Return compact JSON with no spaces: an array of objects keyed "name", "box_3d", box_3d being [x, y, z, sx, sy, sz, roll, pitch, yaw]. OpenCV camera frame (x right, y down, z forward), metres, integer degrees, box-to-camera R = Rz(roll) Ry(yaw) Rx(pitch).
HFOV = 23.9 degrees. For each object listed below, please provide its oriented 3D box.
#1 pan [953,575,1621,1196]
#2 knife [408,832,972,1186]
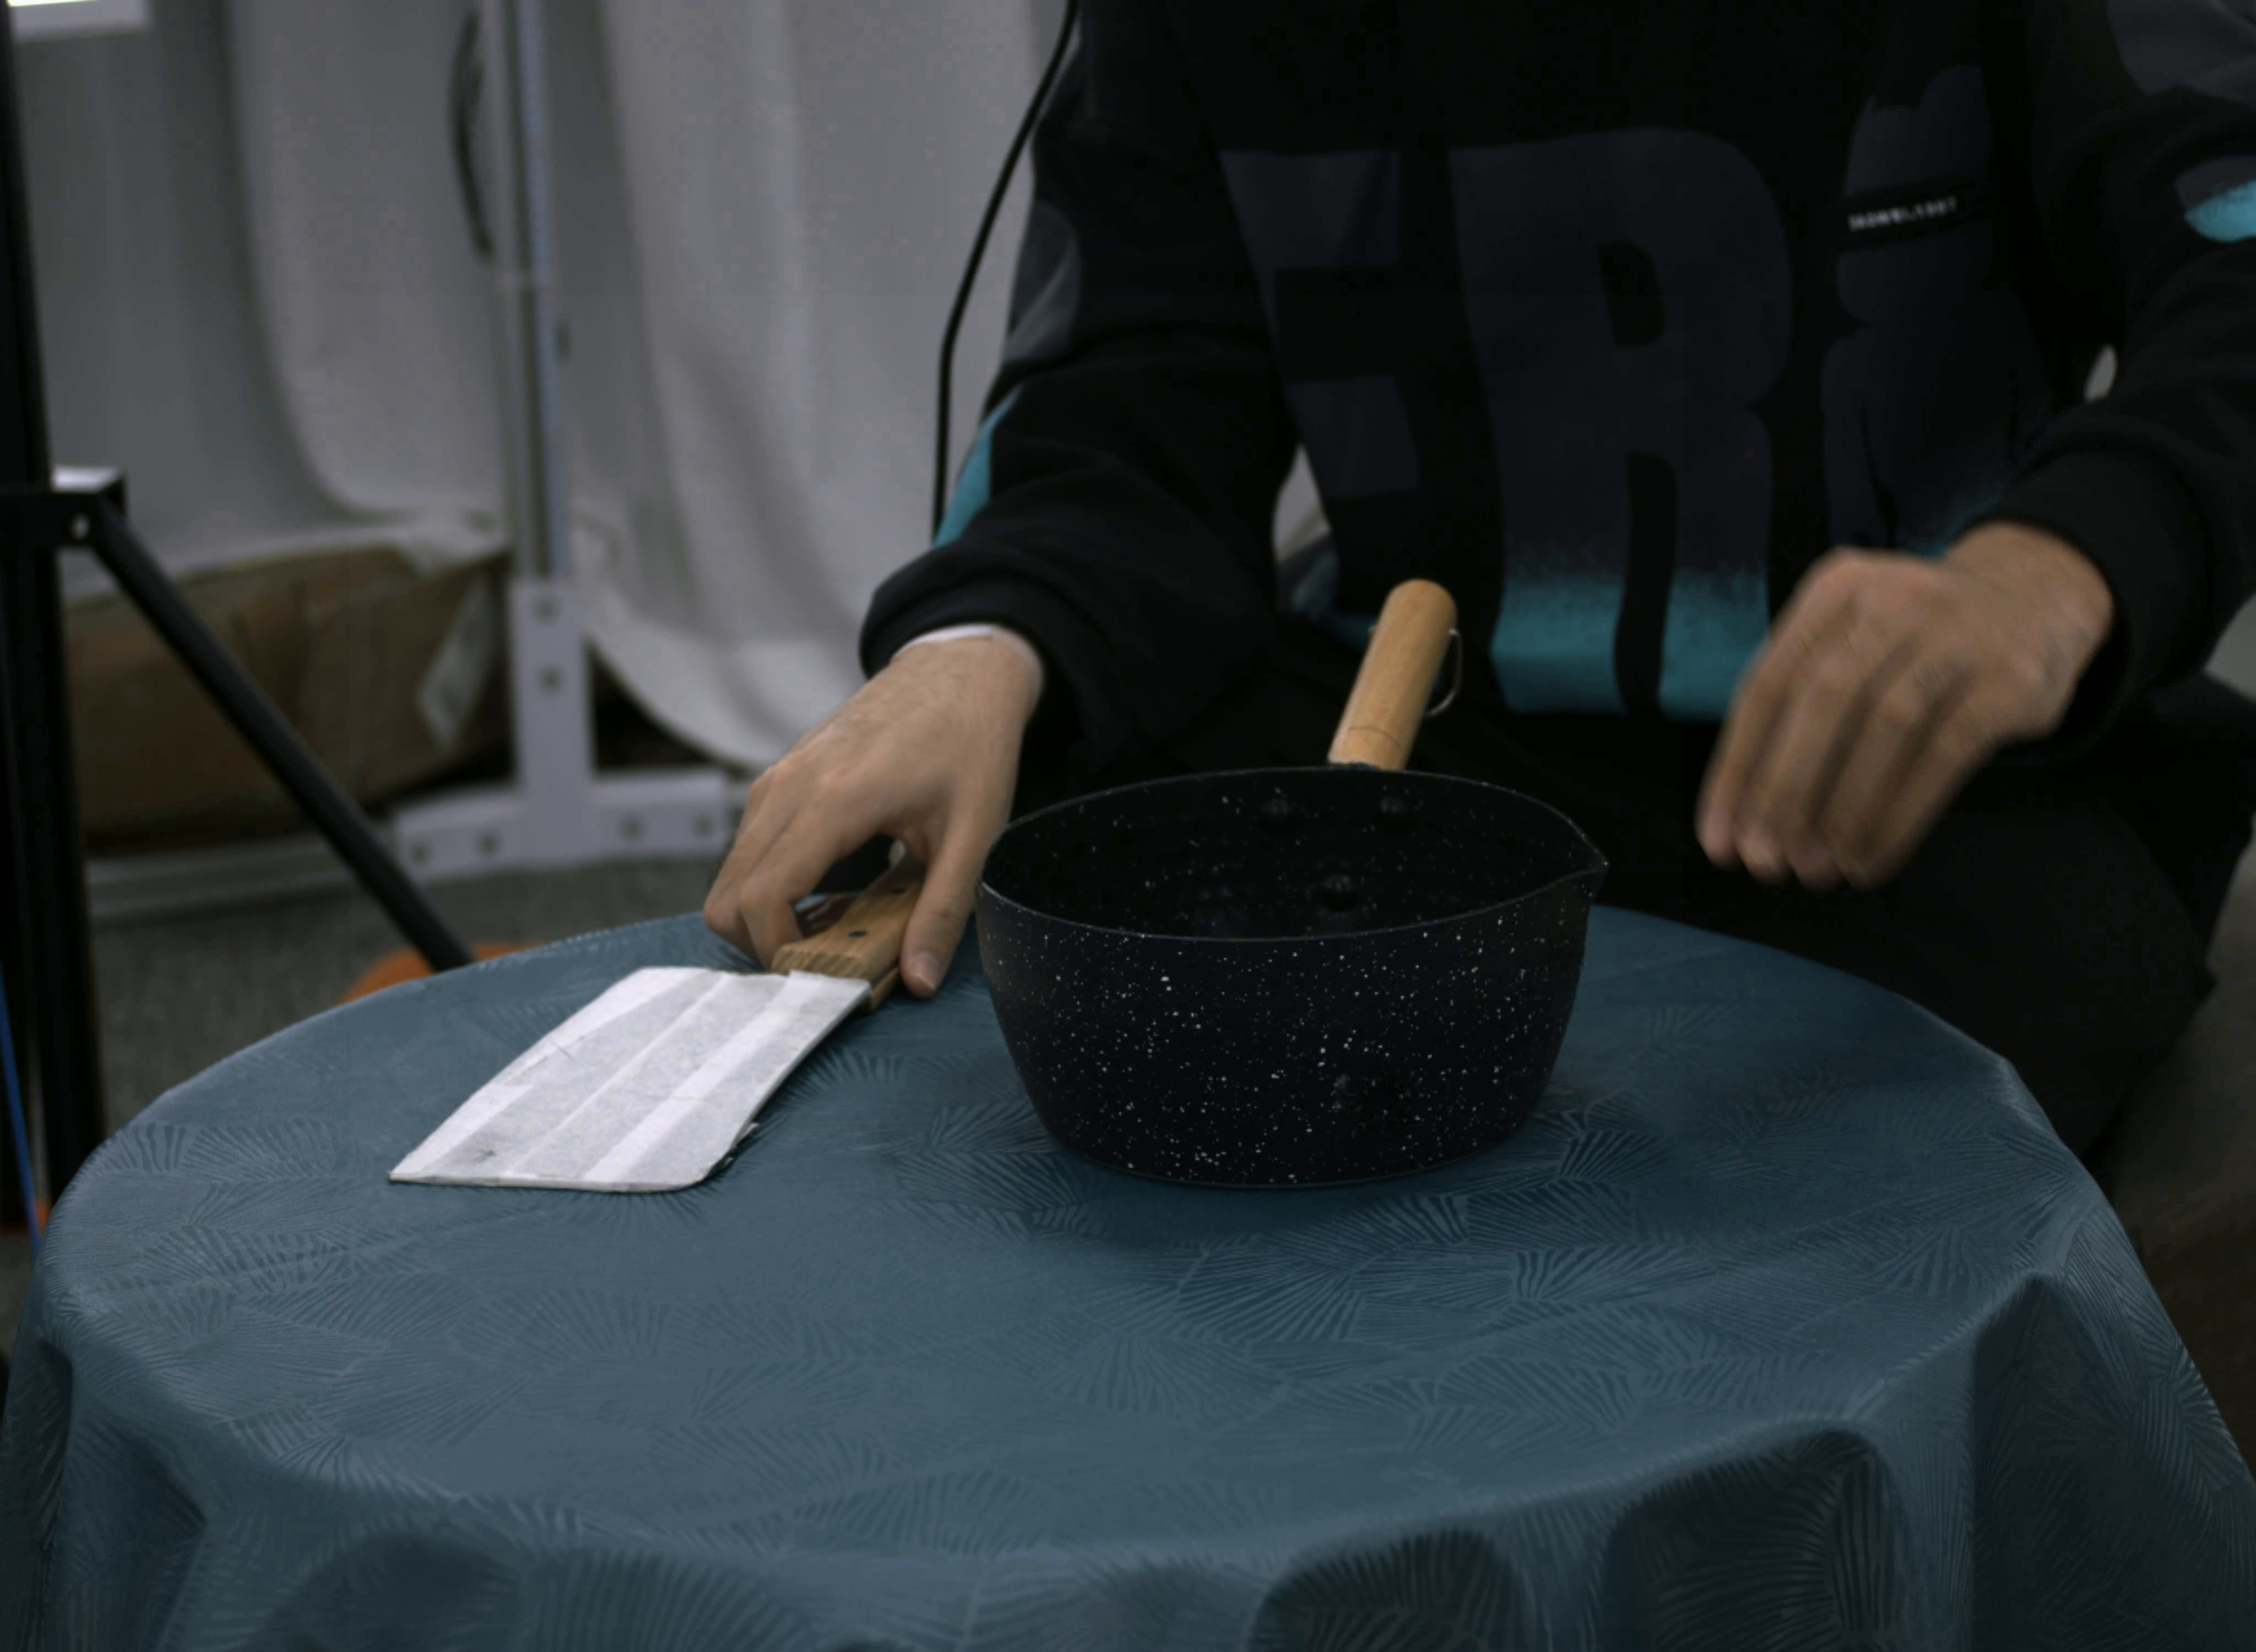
[{"name":"pan","box_3d":[0.061,0.014,1.680,0.208,0.108,0.341,0,17,12]},{"name":"knife","box_3d":[-0.123,0.059,1.717,0.115,0.022,0.311,3,20,23]}]
